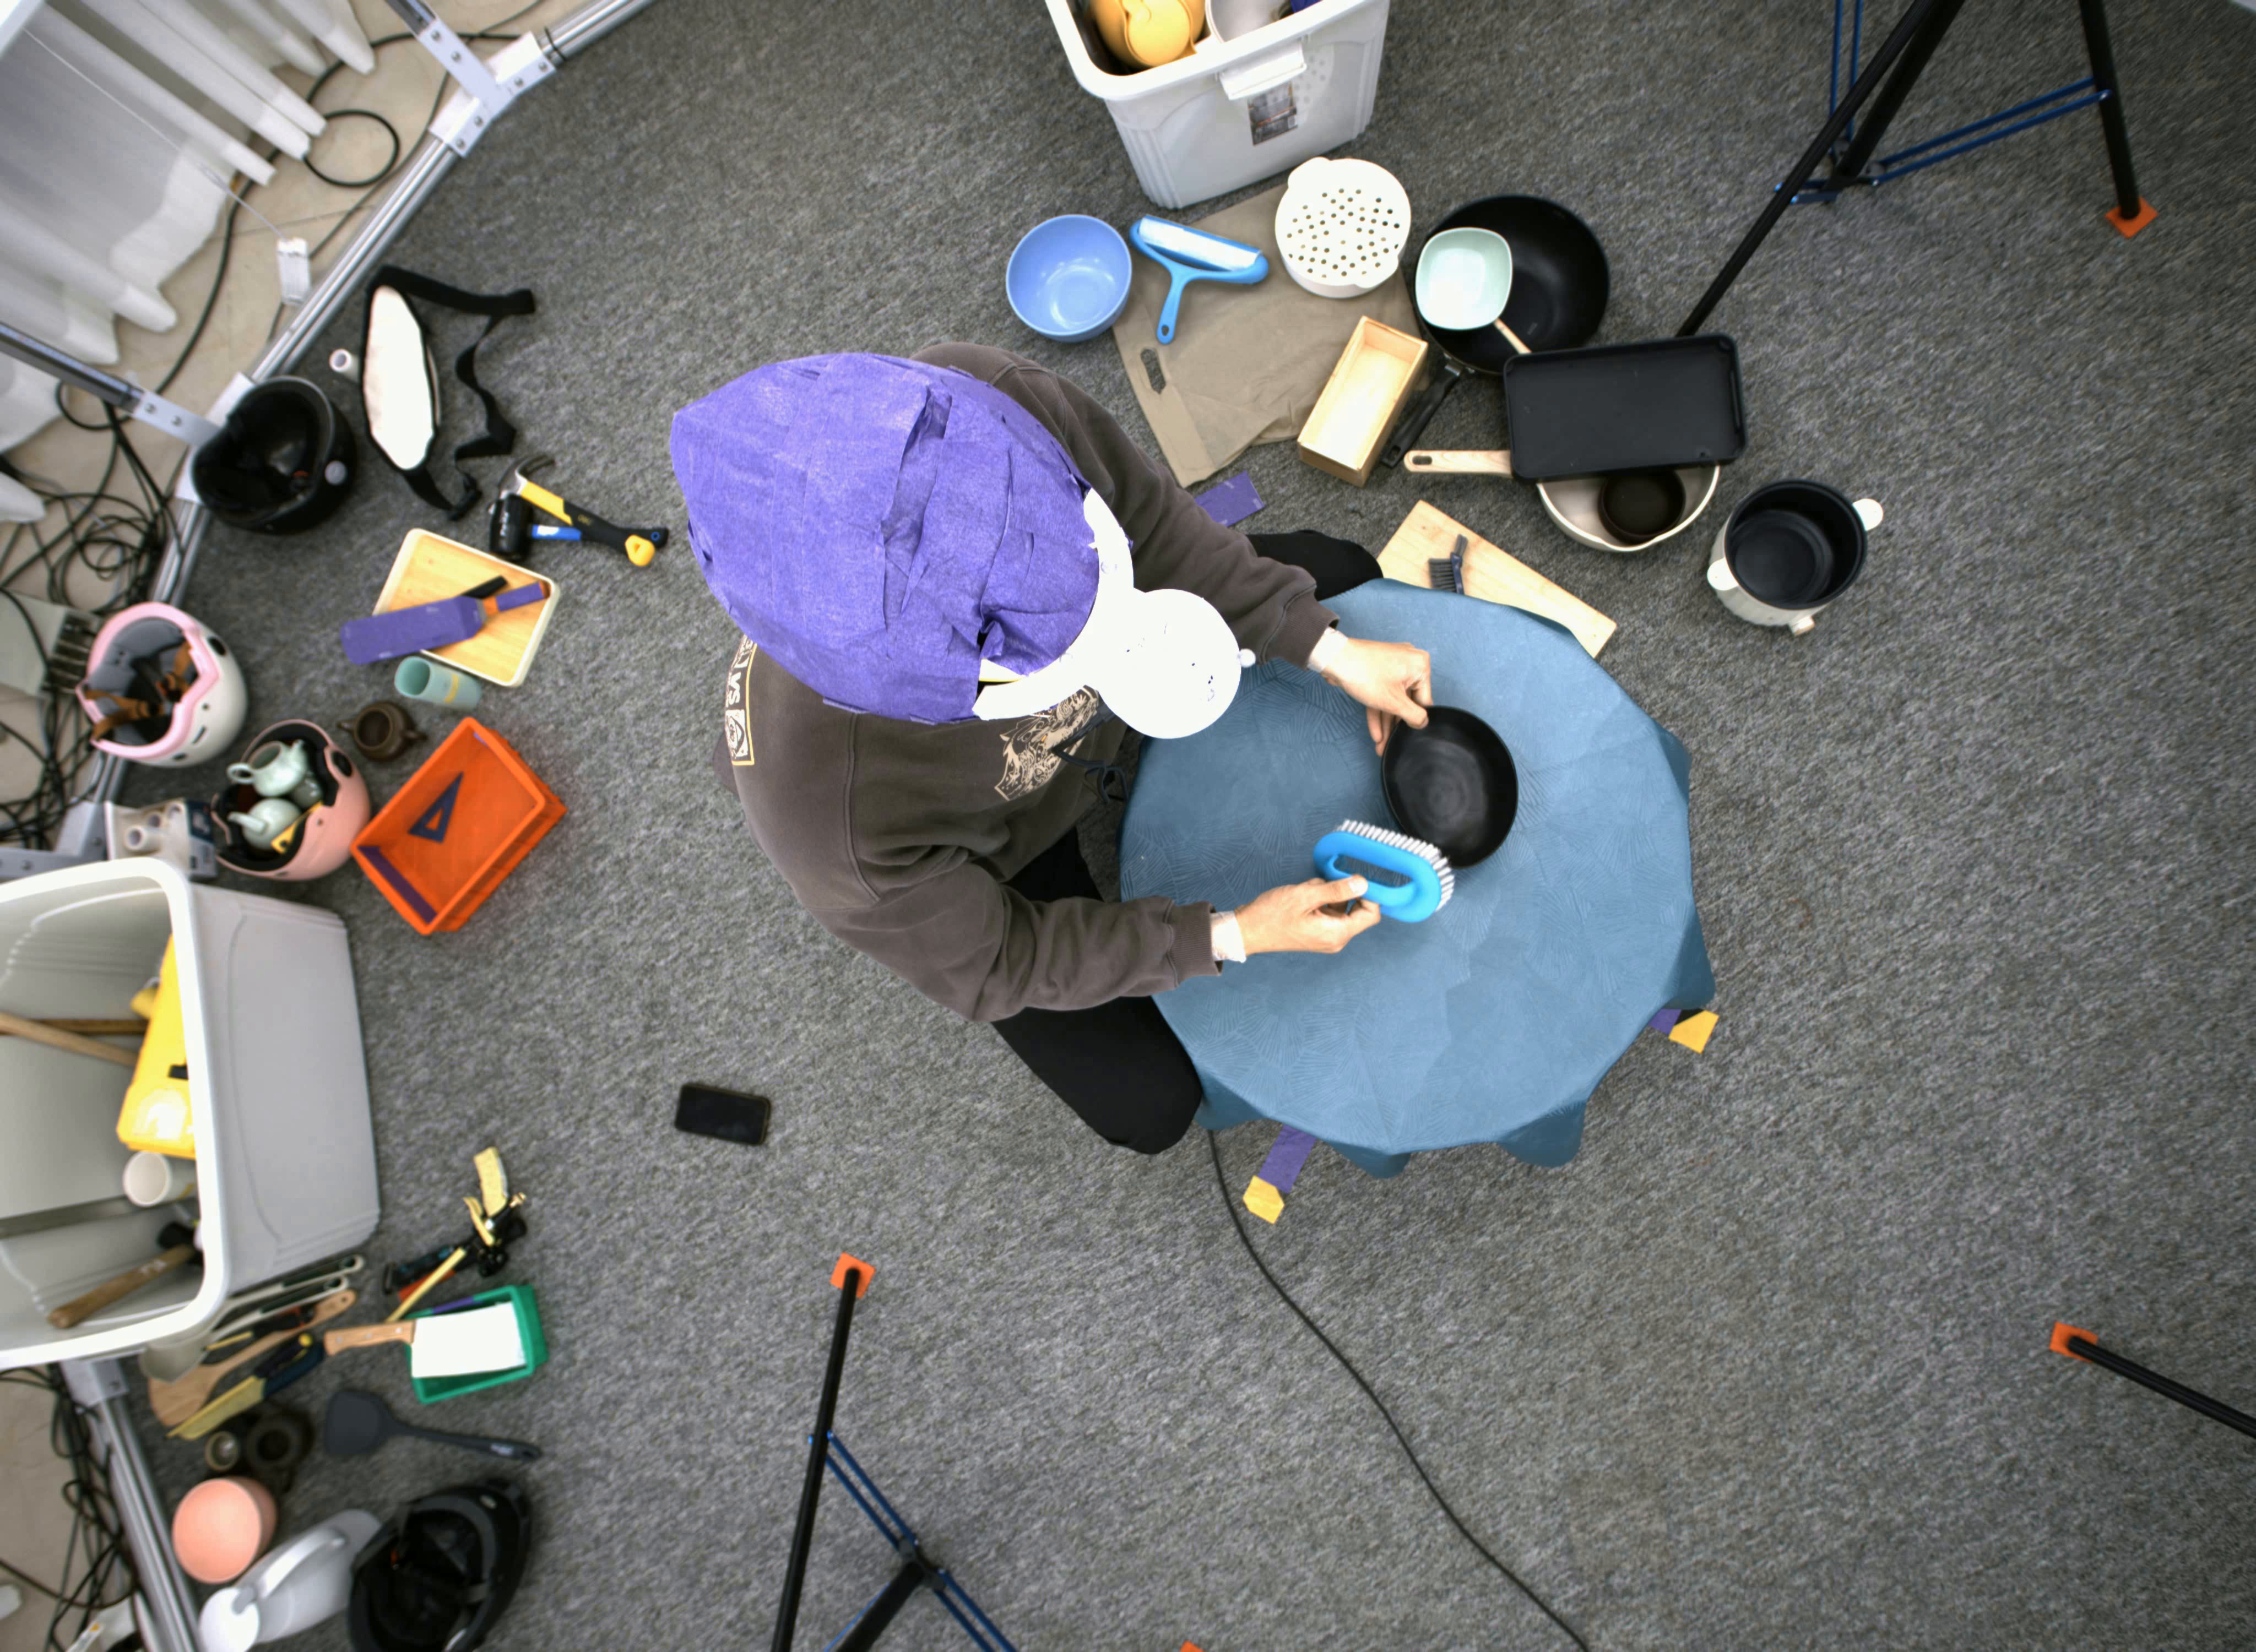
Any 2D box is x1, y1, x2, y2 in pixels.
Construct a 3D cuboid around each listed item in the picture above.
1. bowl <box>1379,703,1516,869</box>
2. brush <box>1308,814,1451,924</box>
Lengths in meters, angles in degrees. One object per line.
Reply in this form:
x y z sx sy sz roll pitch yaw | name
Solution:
0.322 -0.041 1.409 0.137 0.067 0.169 -16 86 -3 | bowl
0.234 0.047 1.332 0.141 0.062 0.086 23 129 29 | brush
